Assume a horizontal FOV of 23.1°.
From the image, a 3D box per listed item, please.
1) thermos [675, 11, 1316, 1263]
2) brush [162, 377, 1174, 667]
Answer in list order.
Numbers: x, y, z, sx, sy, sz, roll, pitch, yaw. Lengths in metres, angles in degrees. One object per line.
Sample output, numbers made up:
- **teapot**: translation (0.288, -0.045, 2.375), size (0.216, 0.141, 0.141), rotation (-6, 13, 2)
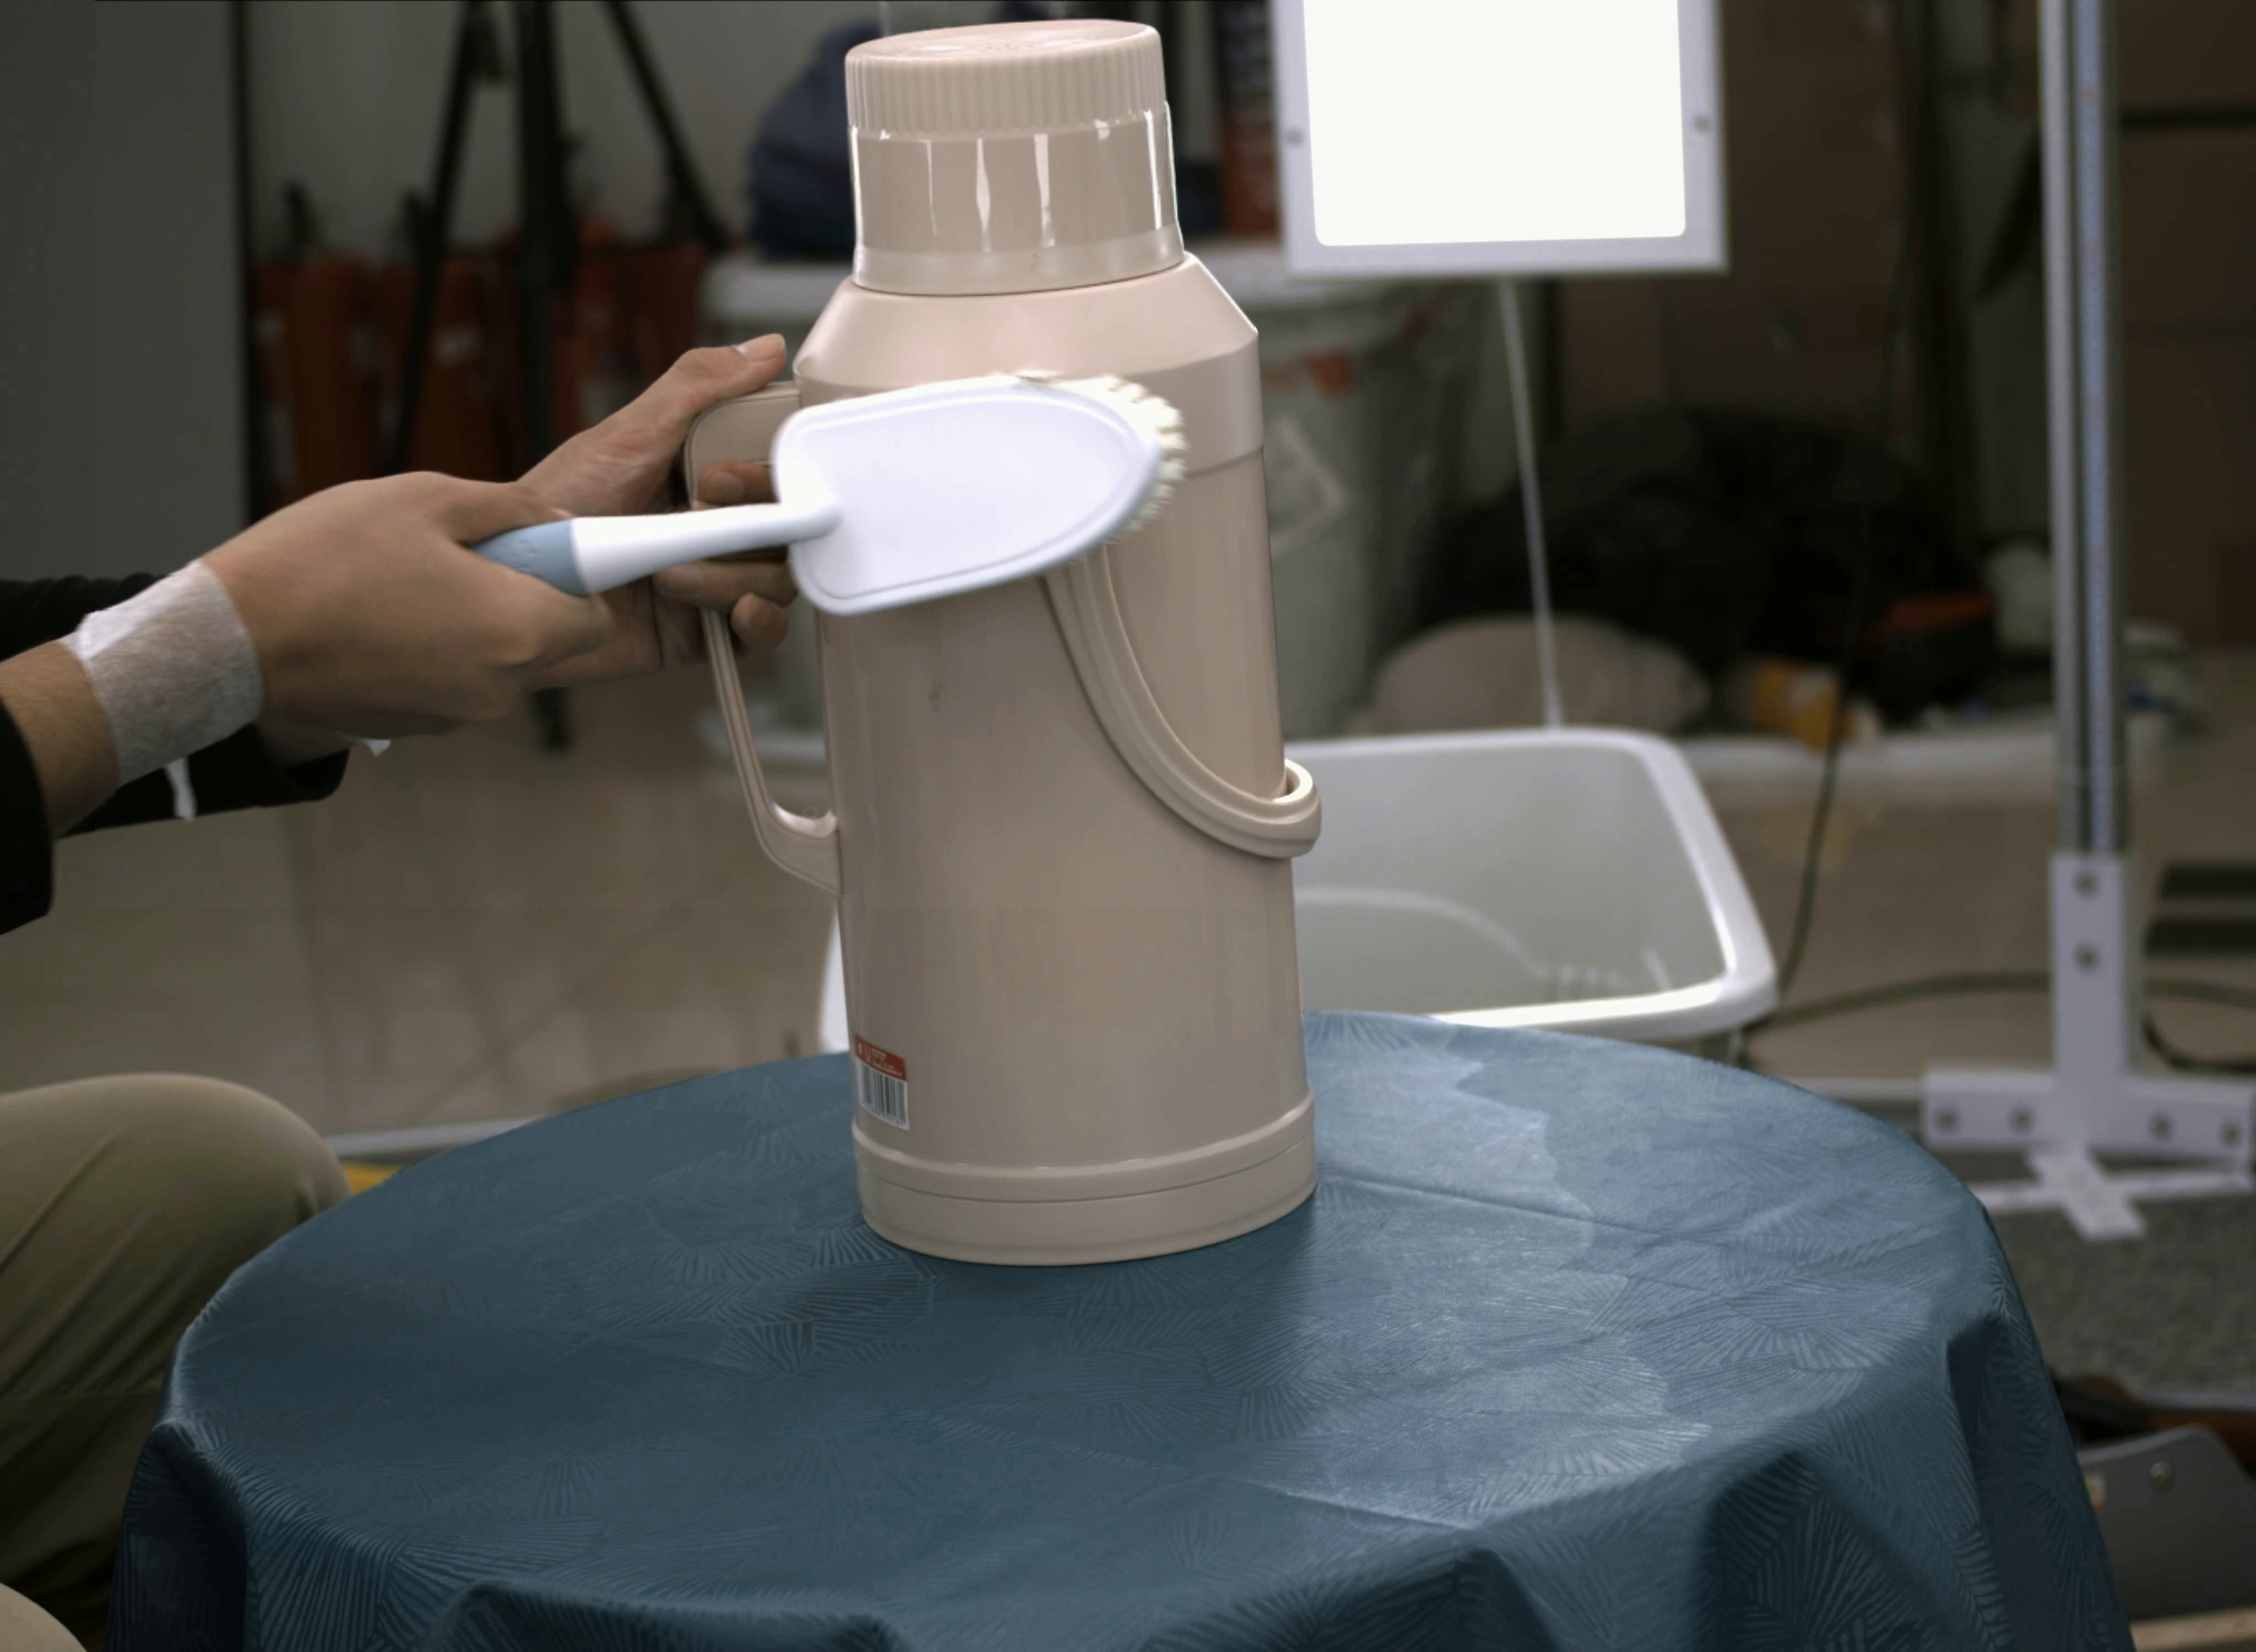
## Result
- **thermos**: translation (-0.043, -0.064, 1.856), size (0.205, 0.408, 0.176), rotation (-6, 15, -6)
- **brush**: translation (-0.144, -0.093, 1.750), size (0.327, 0.084, 0.083), rotation (-10, 53, 9)
